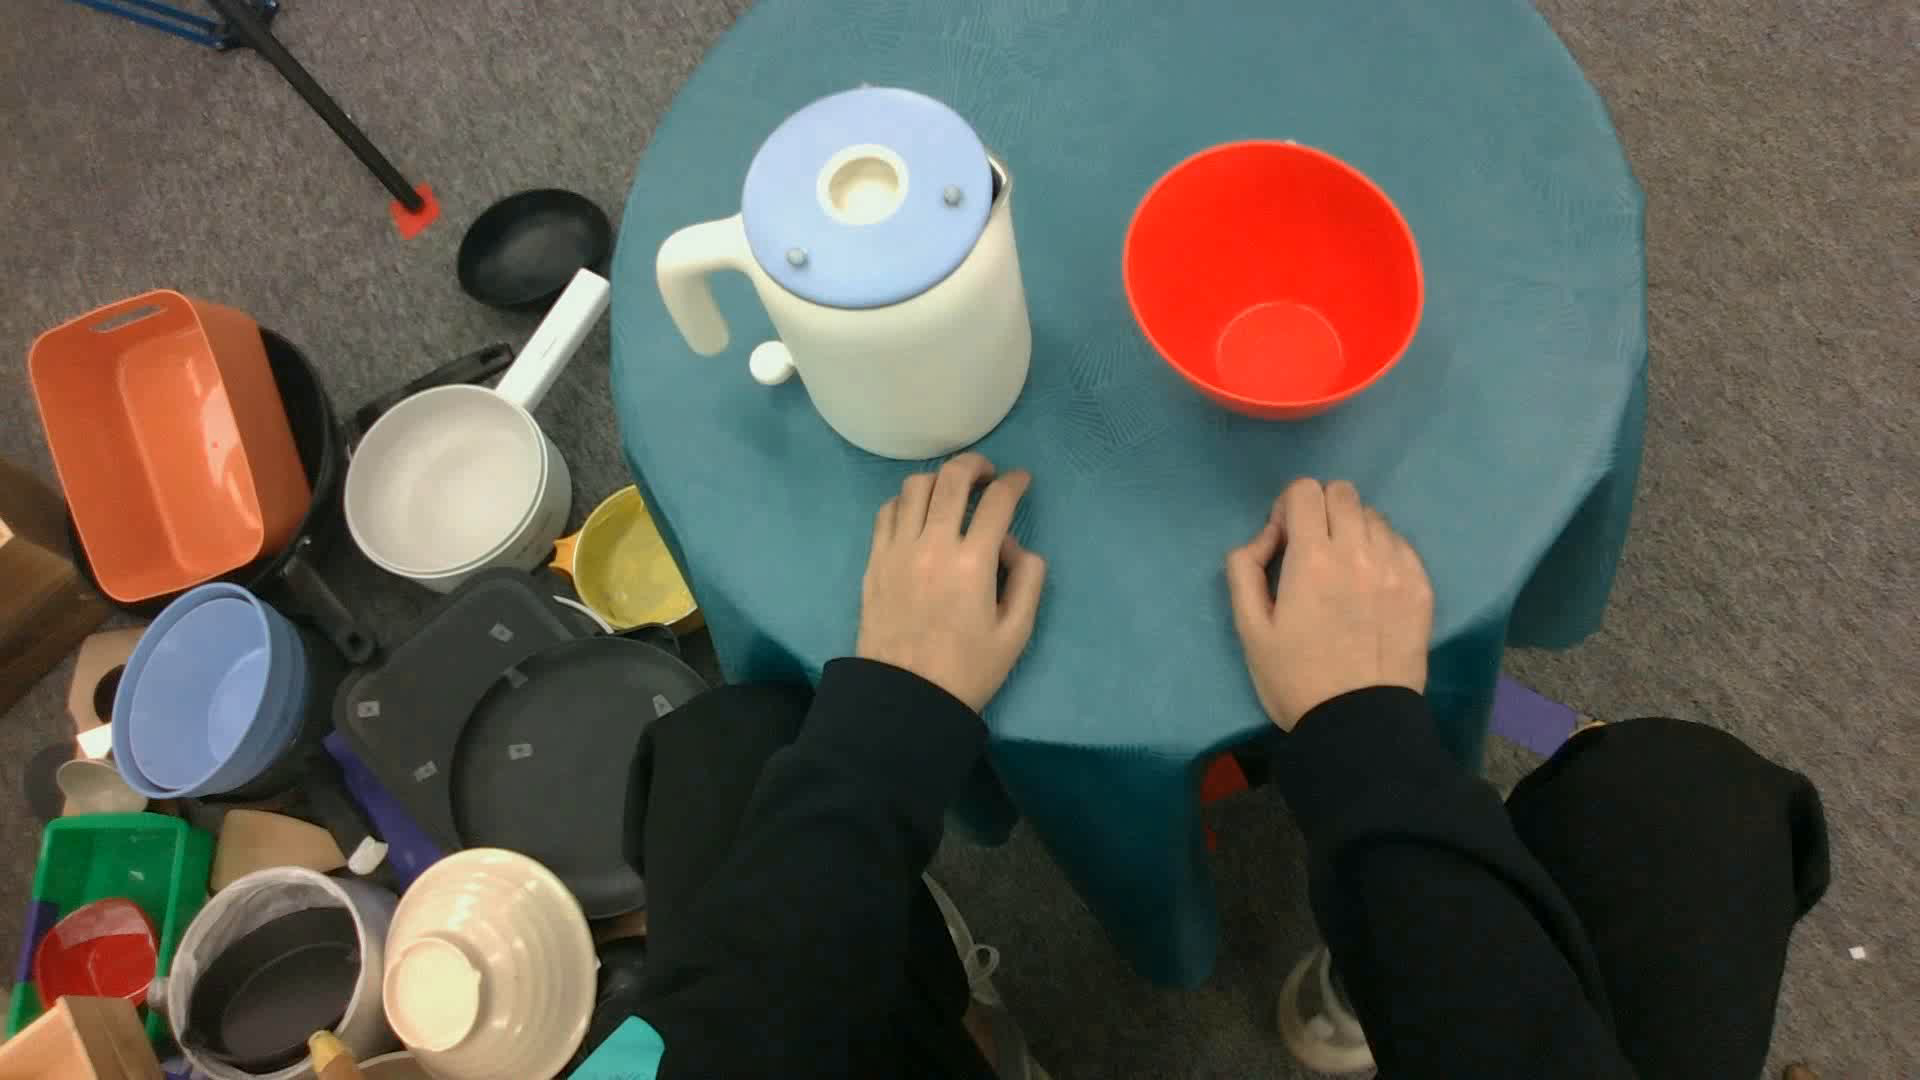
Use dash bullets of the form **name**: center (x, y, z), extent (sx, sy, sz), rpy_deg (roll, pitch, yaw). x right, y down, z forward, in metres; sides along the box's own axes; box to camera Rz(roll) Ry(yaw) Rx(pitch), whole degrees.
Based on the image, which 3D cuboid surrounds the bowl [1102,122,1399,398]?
- **bowl**: center (0.150, -0.132, 0.725), extent (0.148, 0.104, 0.148), rpy_deg (-2, 70, 6)

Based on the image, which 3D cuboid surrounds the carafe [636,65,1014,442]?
- **carafe**: center (-0.068, -0.138, 0.715), extent (0.191, 0.182, 0.132), rpy_deg (-9, 68, 6)
